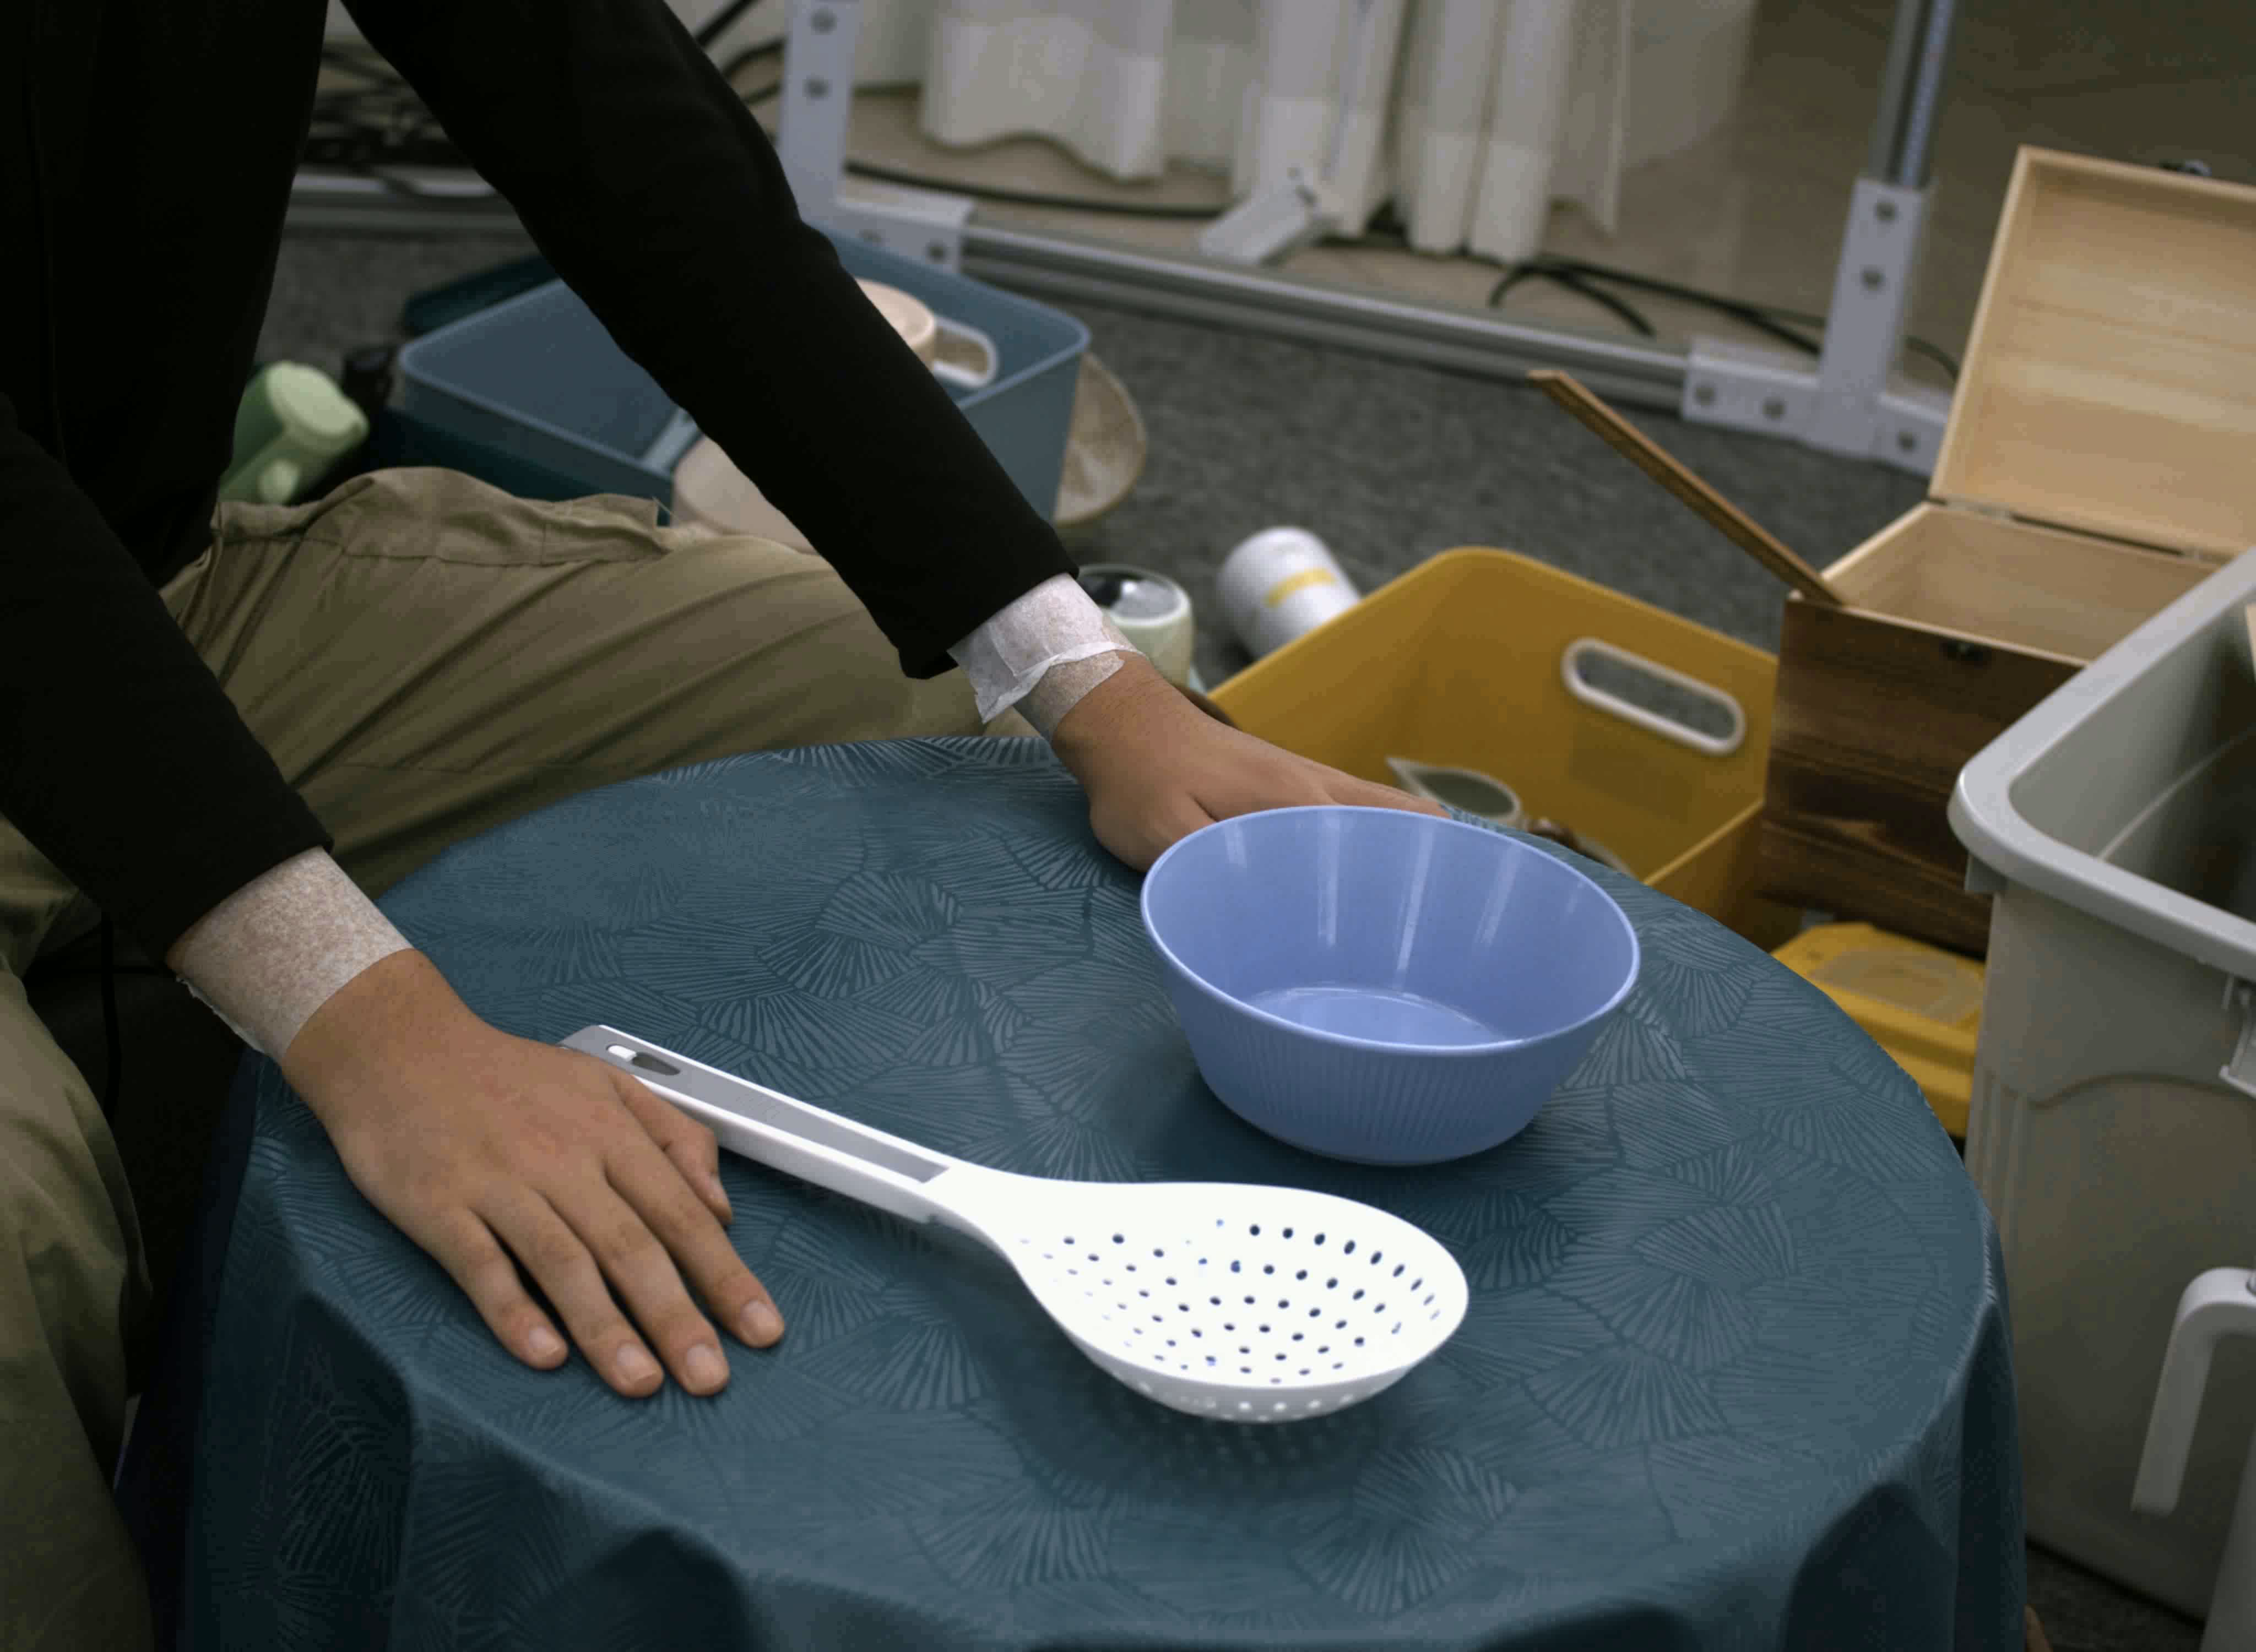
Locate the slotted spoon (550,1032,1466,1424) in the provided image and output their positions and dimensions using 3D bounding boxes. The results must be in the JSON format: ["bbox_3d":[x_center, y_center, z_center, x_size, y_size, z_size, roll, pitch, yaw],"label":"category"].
[{"bbox_3d":[-0.050,0.124,1.740,0.352,0.045,0.135,21,30,29],"label":"slotted spoon"}]

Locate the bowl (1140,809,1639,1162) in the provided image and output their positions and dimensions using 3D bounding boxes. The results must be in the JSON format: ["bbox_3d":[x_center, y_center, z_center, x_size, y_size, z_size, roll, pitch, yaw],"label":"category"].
[{"bbox_3d":[0.088,0.061,1.866,0.175,0.070,0.177,5,26,-3],"label":"bowl"}]
